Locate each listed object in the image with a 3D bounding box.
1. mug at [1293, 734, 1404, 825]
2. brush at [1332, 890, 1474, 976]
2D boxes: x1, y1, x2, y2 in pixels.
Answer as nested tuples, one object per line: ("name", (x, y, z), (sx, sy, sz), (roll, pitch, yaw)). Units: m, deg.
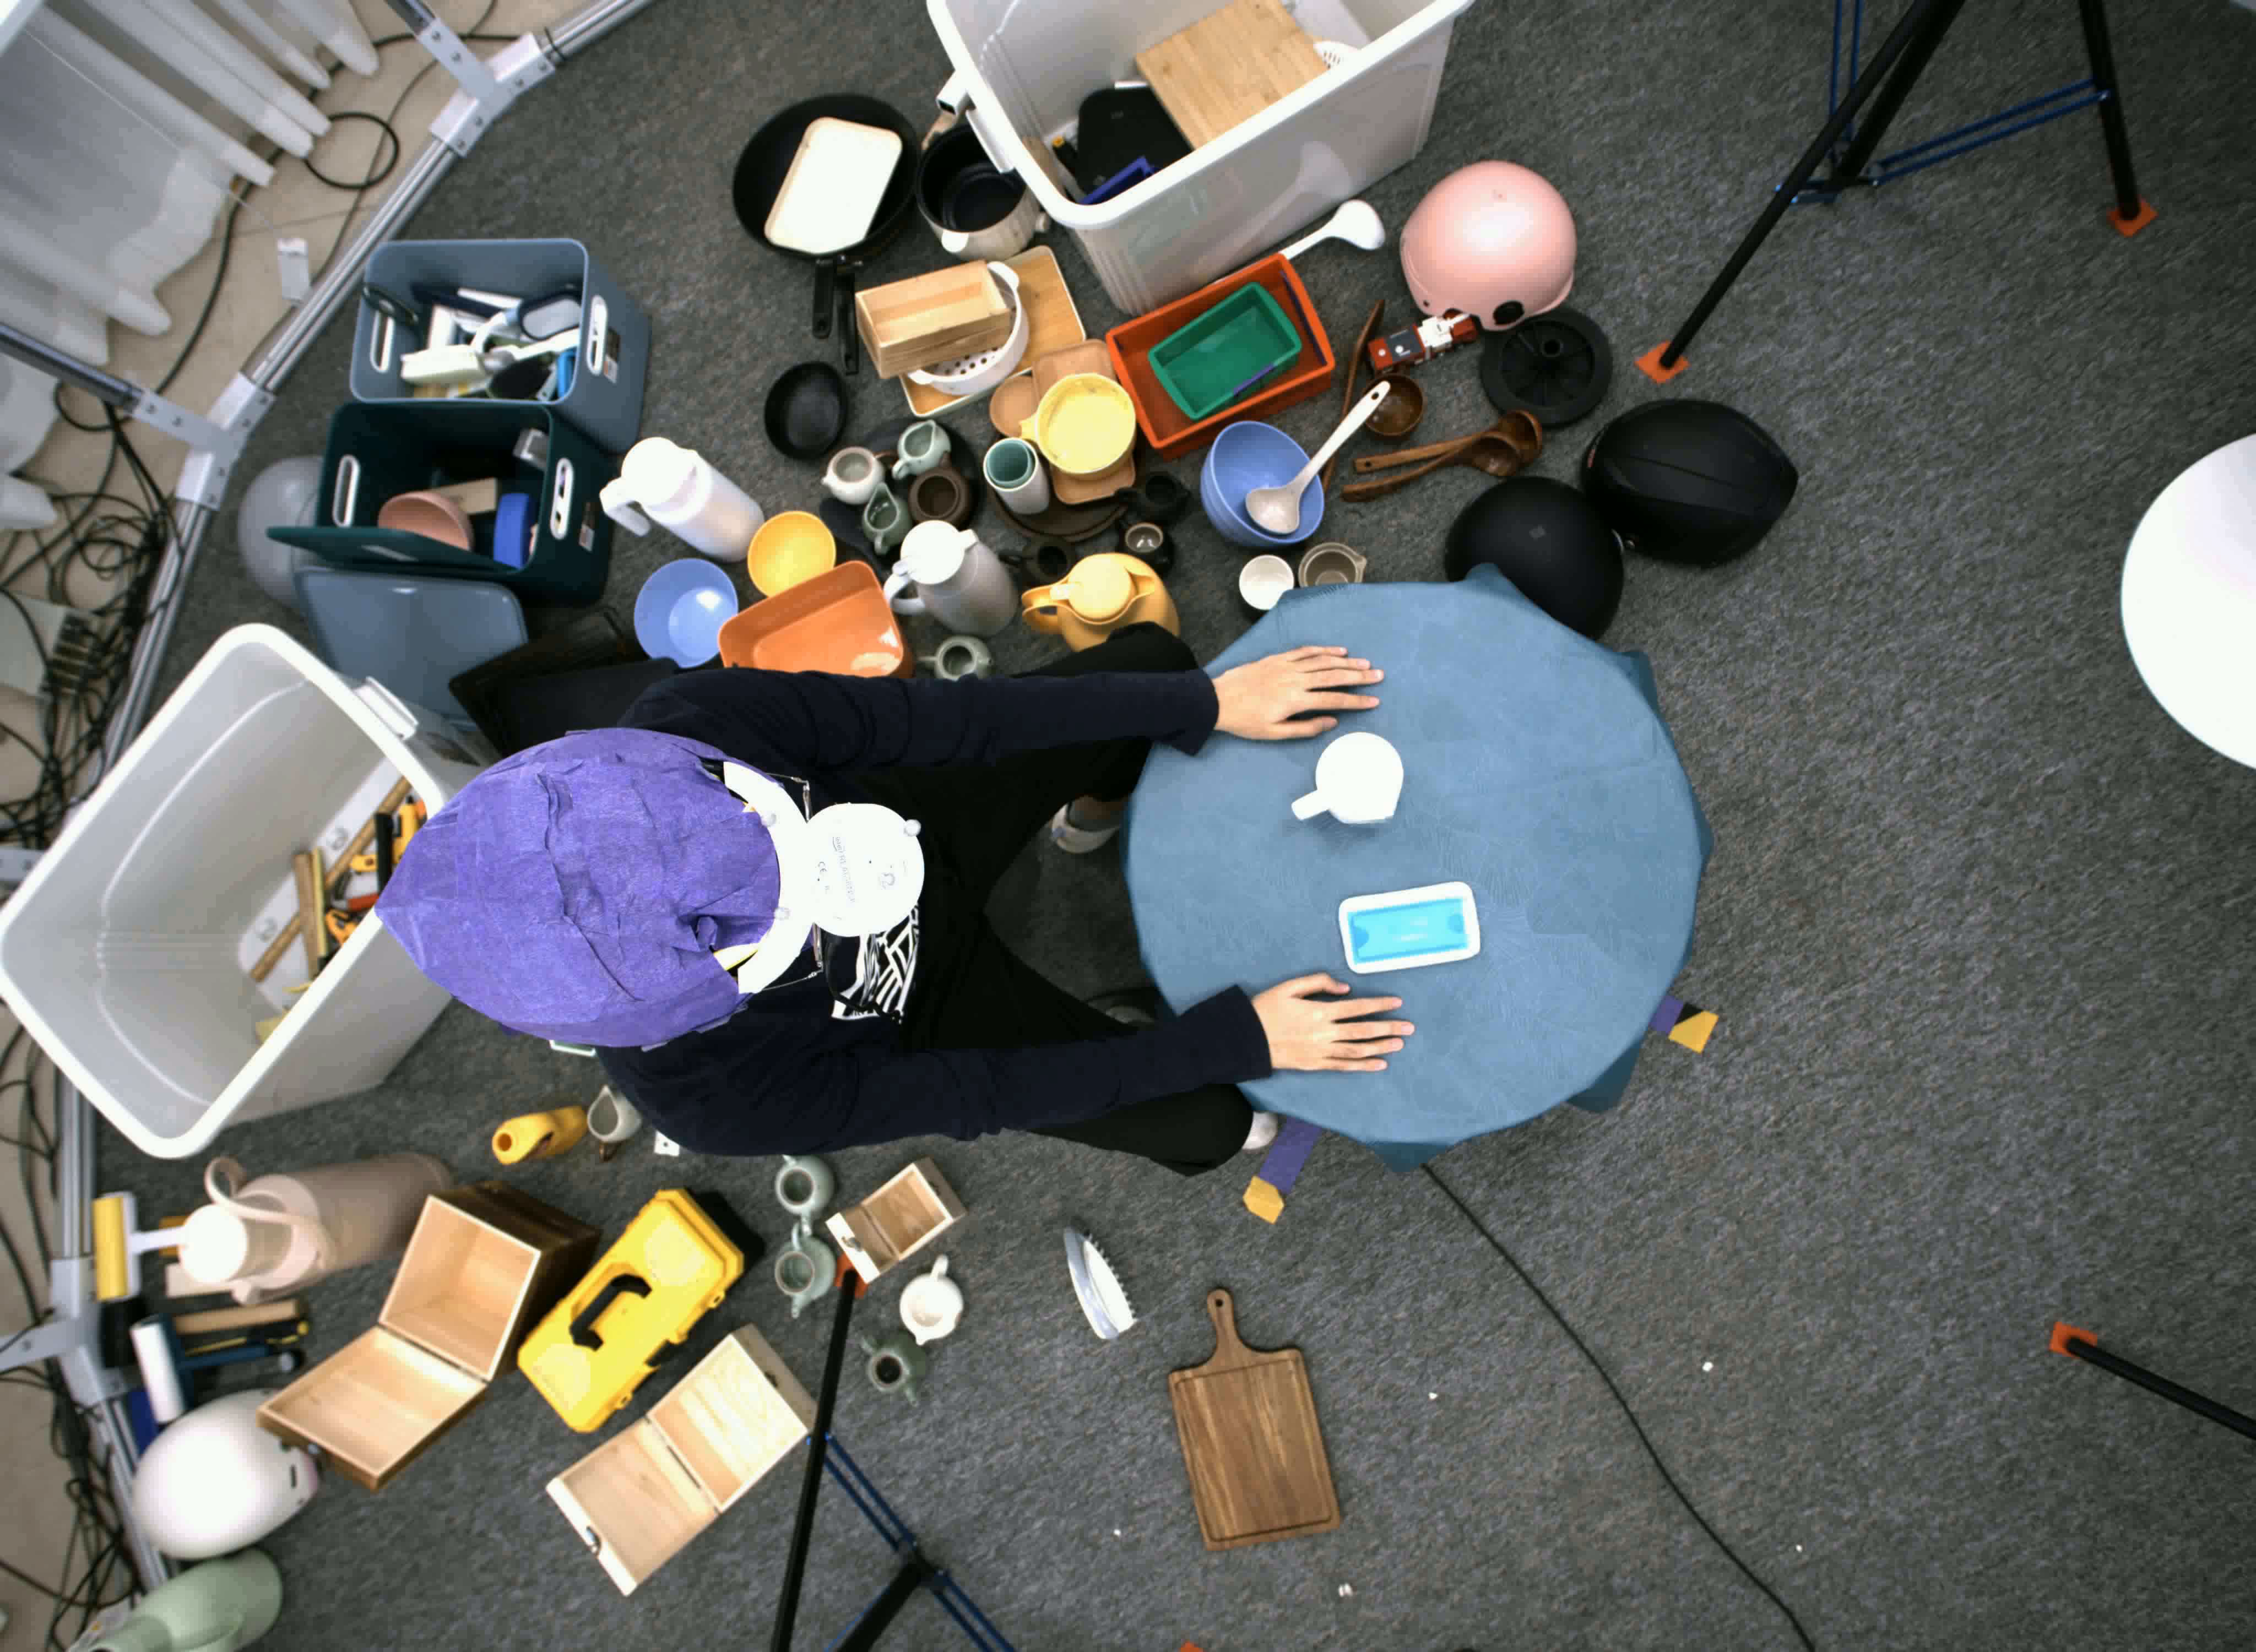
("mug", (0.225, -0.039, 1.421), (0.119, 0.102, 0.084), (-29, 82, 7))
("brush", (0.284, 0.106, 1.424), (0.144, 0.056, 0.083), (-7, 82, 8))
